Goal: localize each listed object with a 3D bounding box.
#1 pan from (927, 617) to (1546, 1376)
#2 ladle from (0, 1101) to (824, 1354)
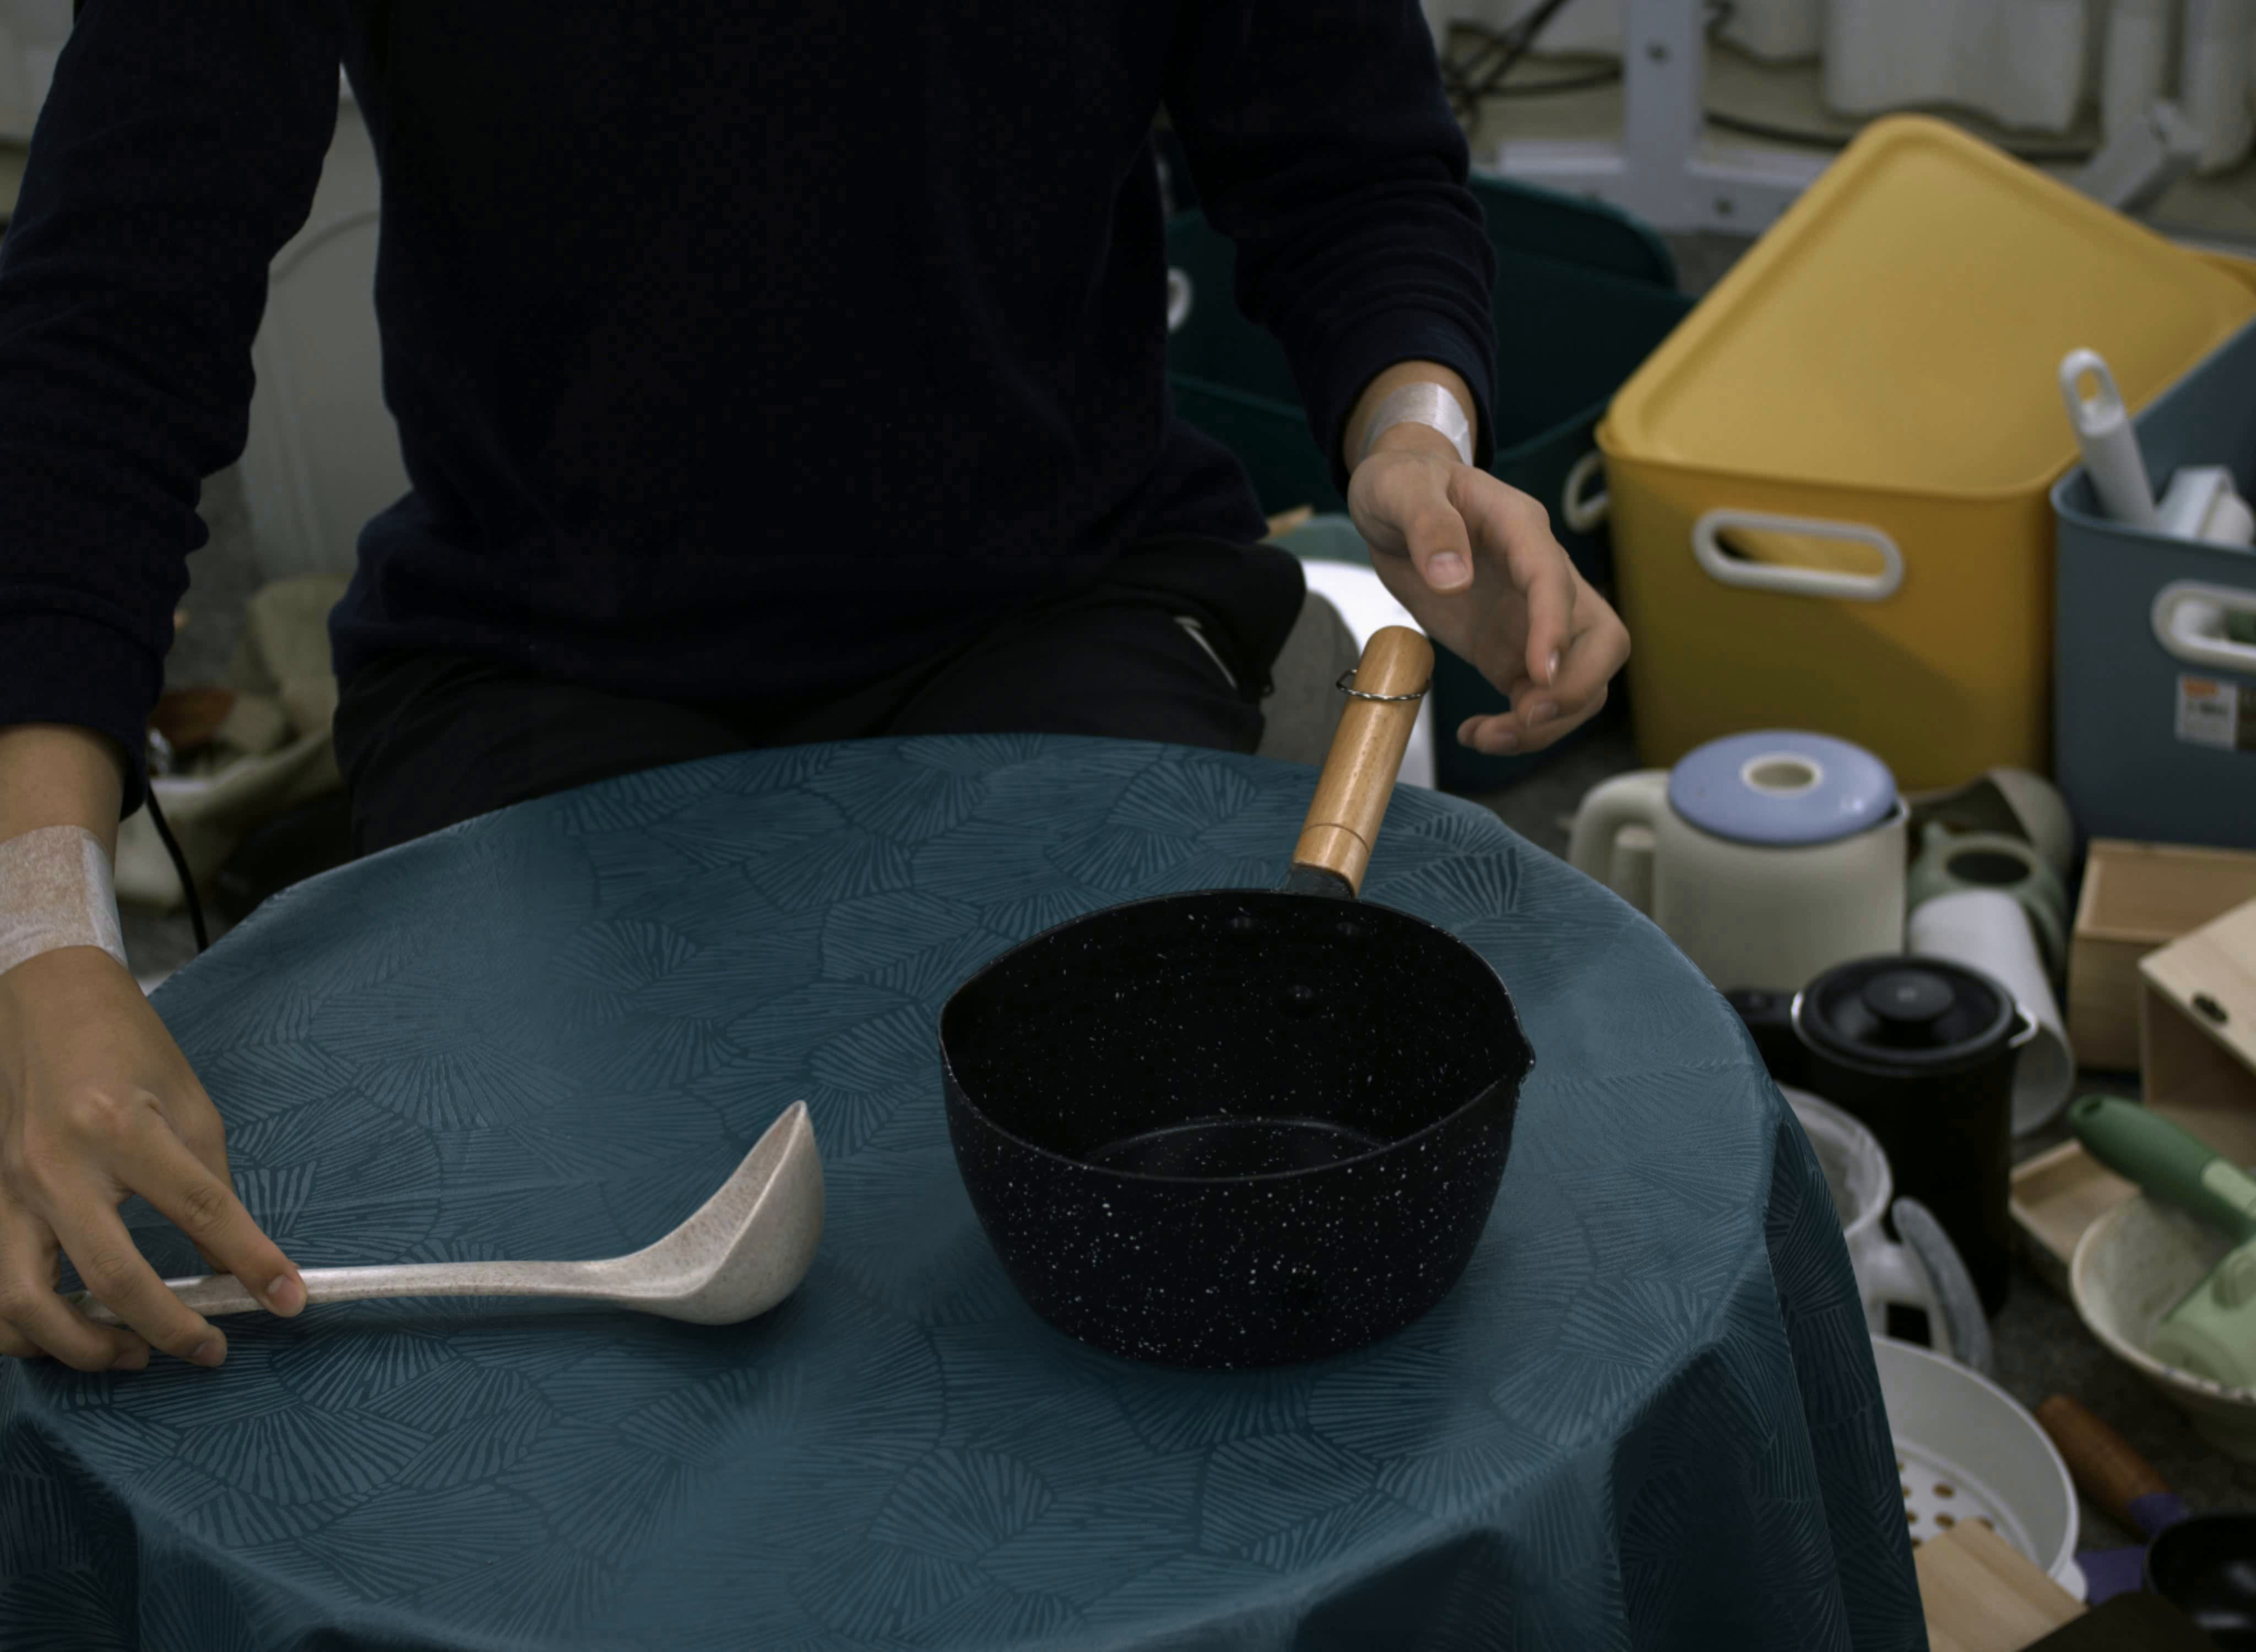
[{"bbox_3d":[0.053,0.053,1.873,0.206,0.107,0.349,3,29,14],"label":"pan"},{"bbox_3d":[-0.233,0.130,1.800,0.273,0.069,0.090,-3,22,3],"label":"ladle"}]
